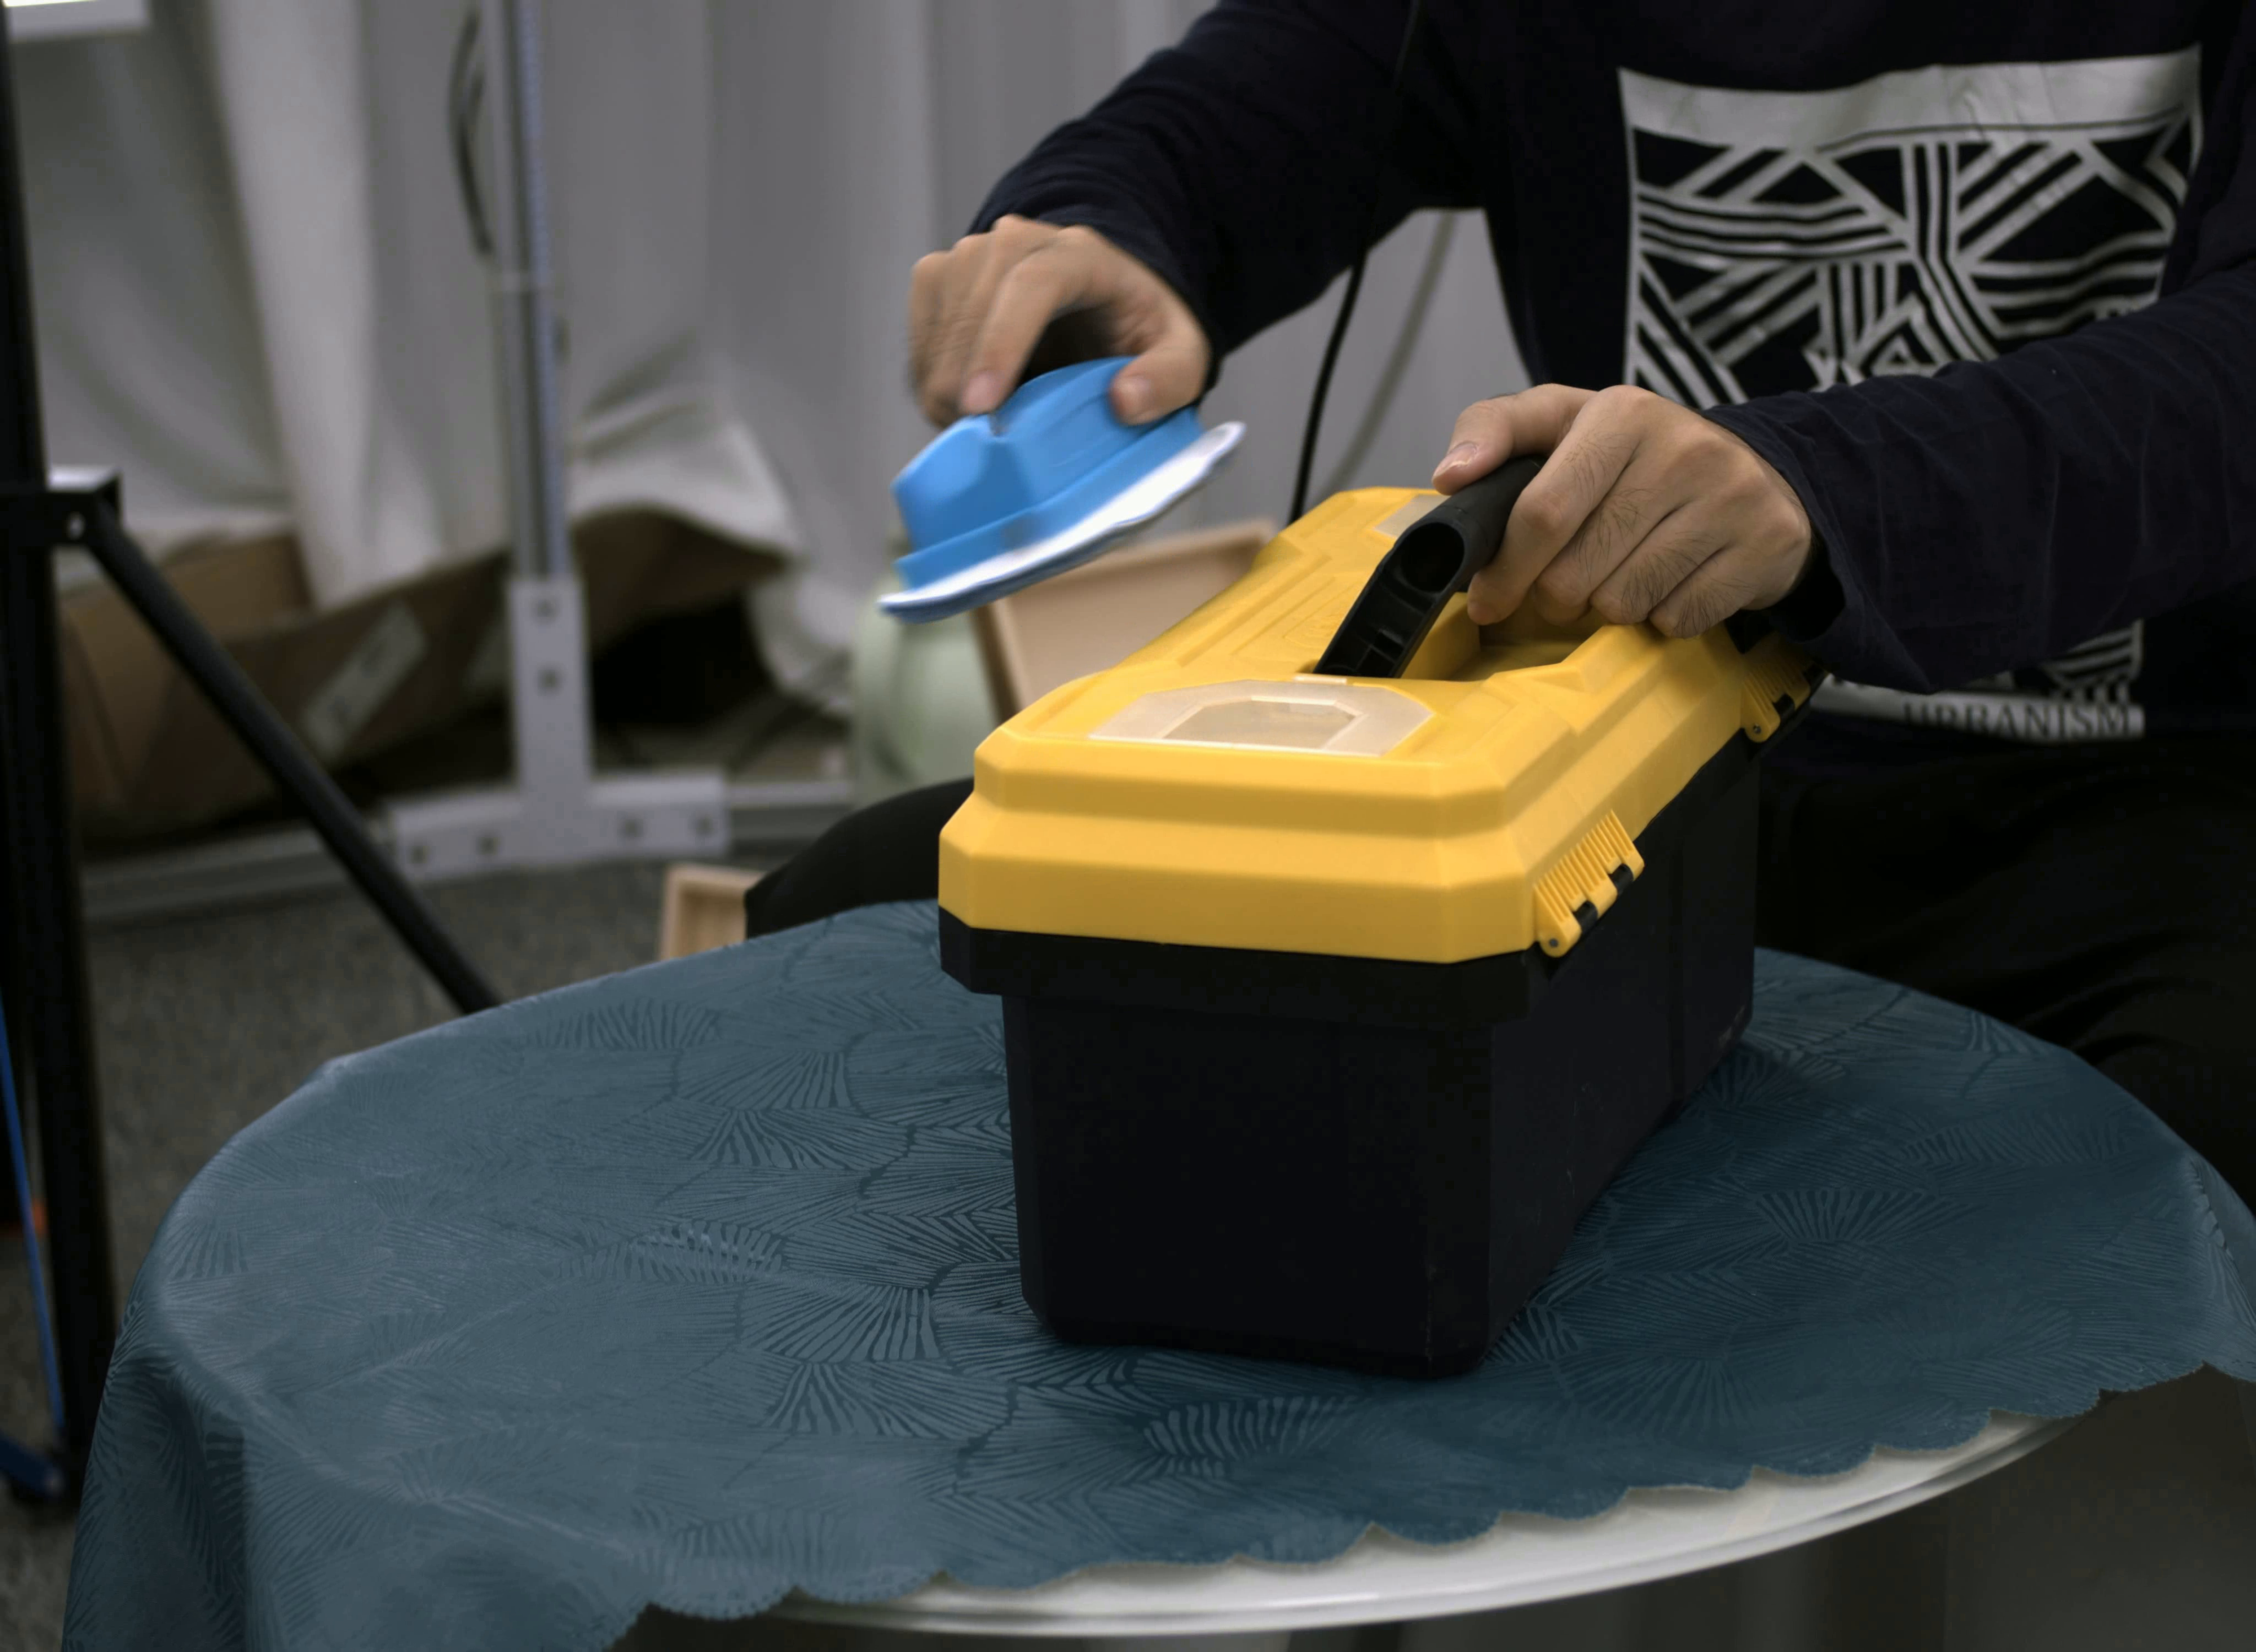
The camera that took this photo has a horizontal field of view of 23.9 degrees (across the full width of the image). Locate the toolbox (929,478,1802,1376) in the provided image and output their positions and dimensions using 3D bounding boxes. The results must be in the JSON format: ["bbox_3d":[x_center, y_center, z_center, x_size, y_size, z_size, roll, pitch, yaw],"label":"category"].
[{"bbox_3d":[0.079,0.020,1.541,0.183,0.173,0.347,4,17,20],"label":"toolbox"}]

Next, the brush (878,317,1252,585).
[{"bbox_3d":[-0.022,-0.115,1.612,0.085,0.056,0.142,-15,14,27],"label":"brush"}]
